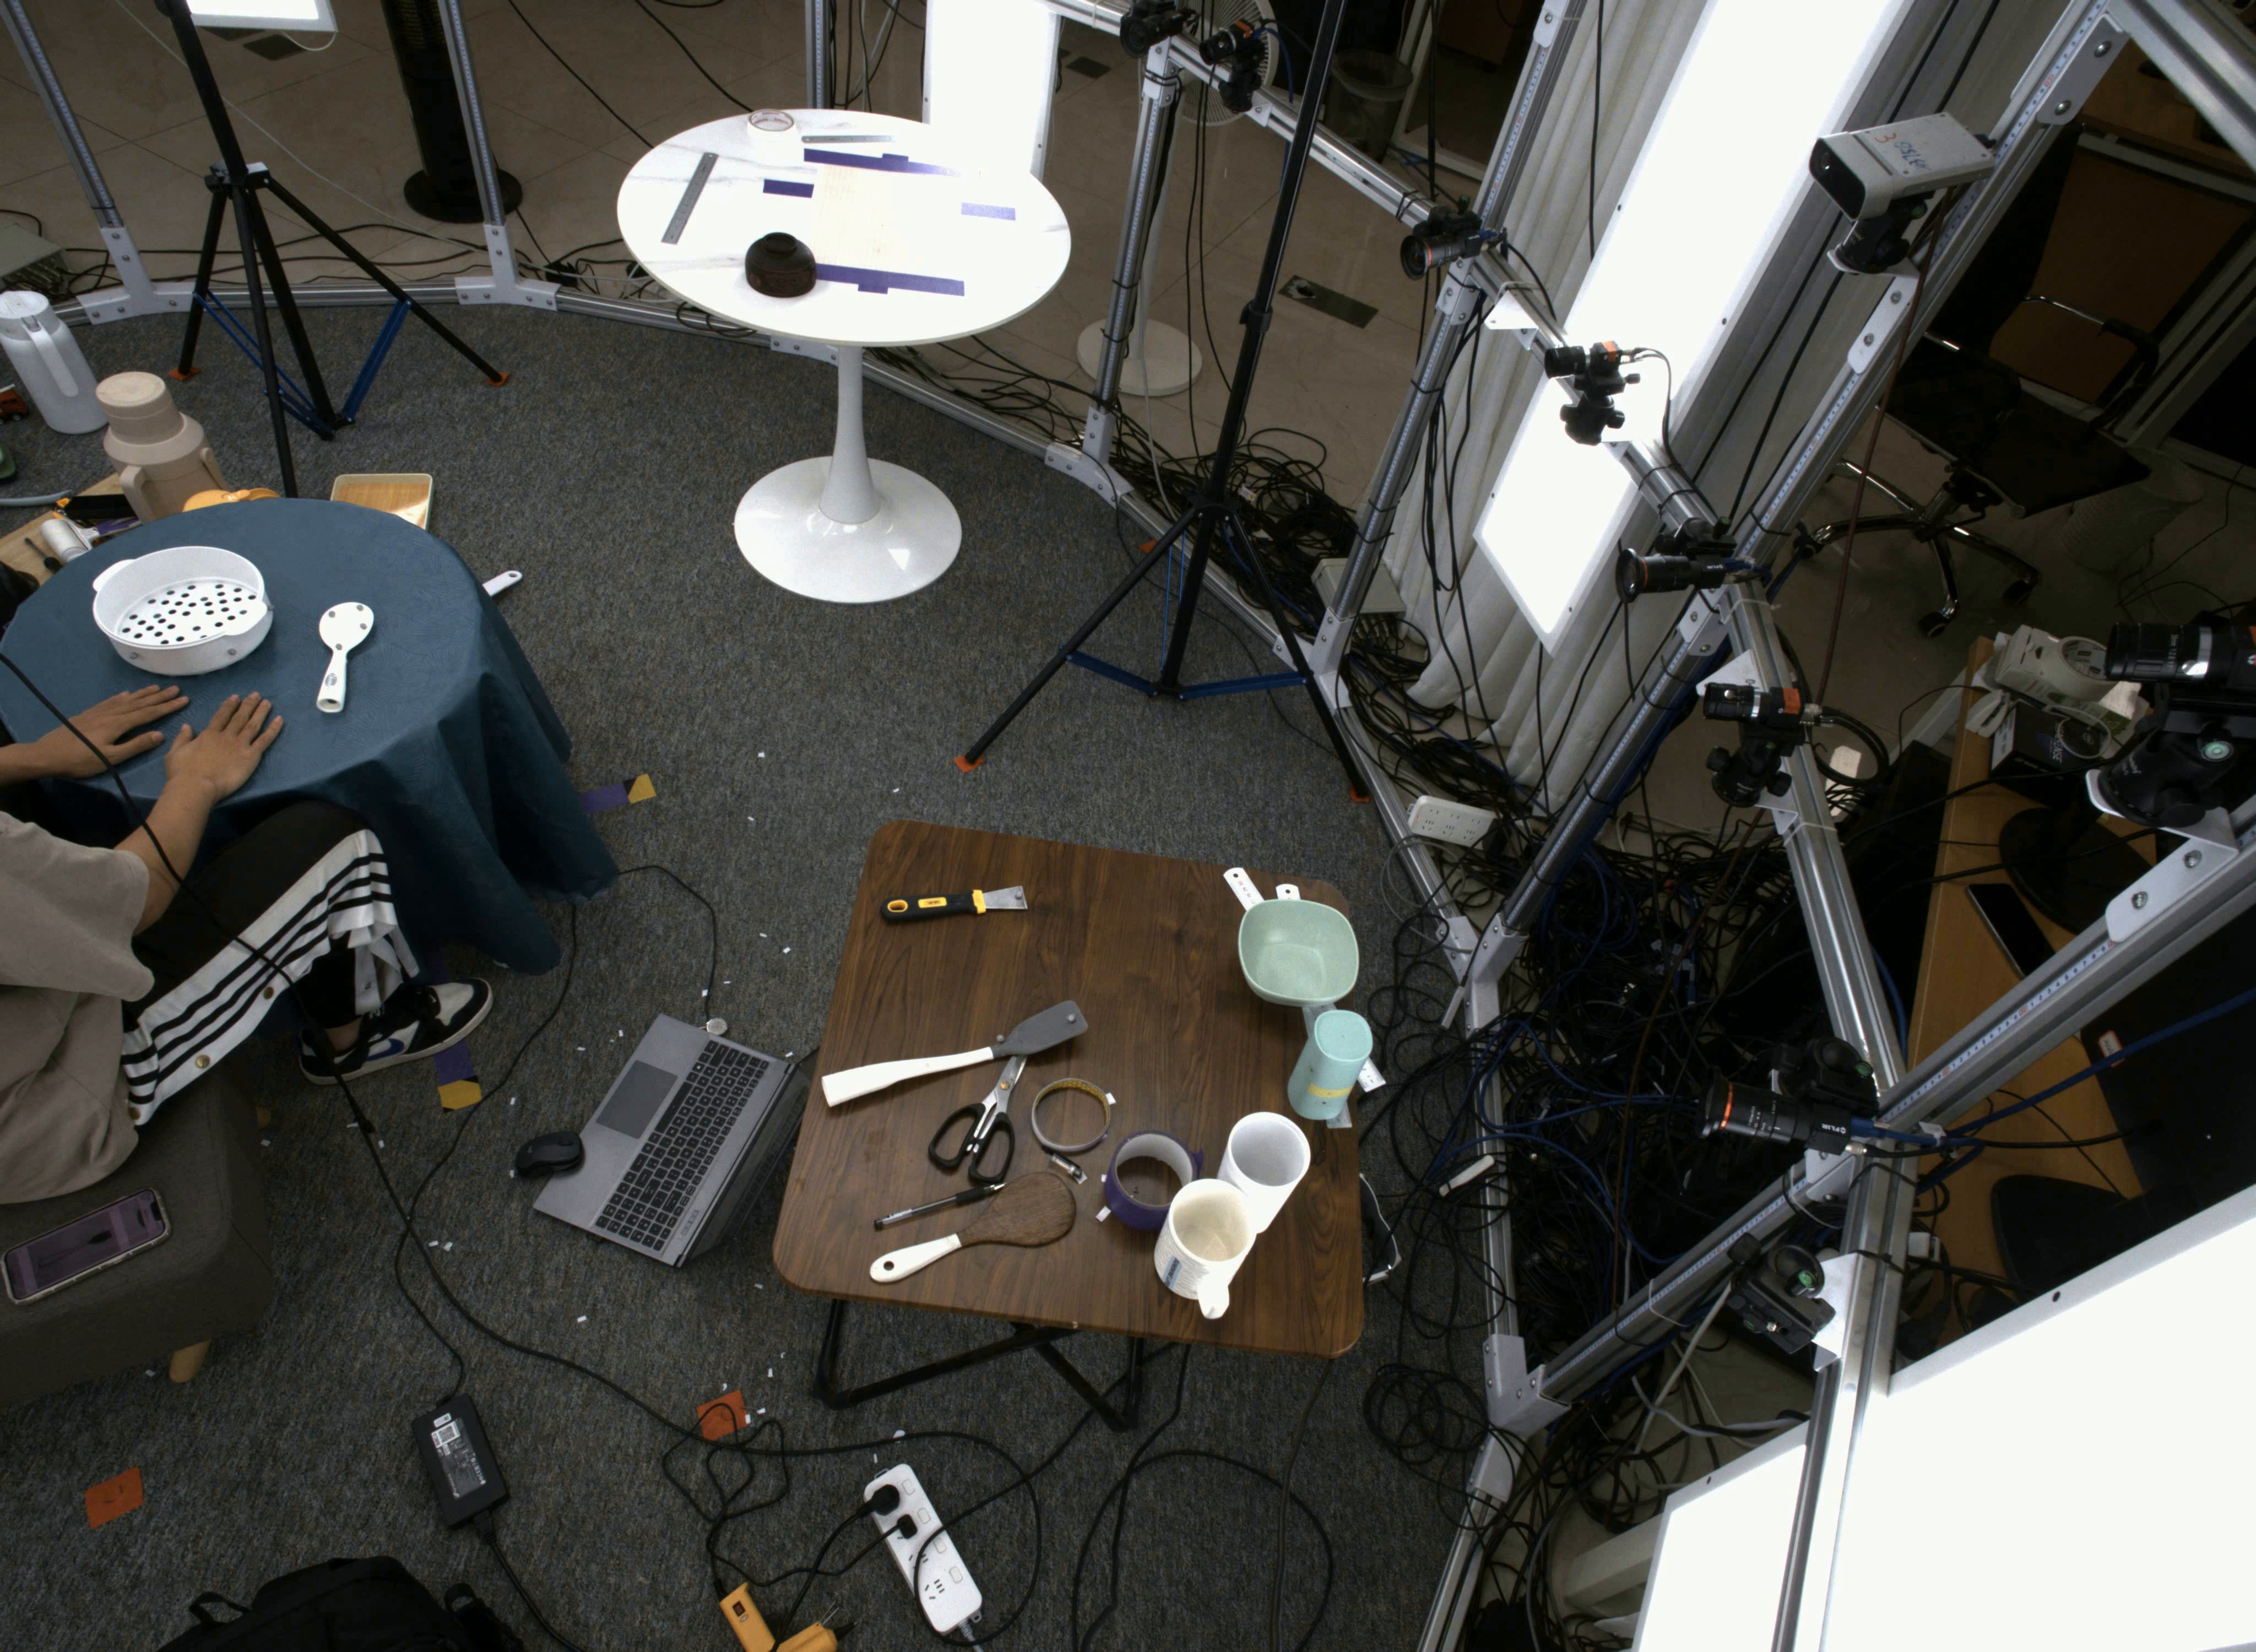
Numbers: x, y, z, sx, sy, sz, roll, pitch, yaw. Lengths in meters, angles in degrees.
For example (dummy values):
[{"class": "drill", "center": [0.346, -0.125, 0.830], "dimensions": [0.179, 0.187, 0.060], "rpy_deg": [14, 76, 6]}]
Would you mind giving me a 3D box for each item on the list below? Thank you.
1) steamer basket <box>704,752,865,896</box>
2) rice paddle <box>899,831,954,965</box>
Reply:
[{"class": "steamer basket", "center": [-0.446, -0.002, 1.689], "dimensions": [0.226, 0.071, 0.201], "rpy_deg": [29, 52, 11]}, {"class": "rice paddle", "center": [-0.268, 0.084, 1.689], "dimensions": [0.068, 0.030, 0.201], "rpy_deg": [9, 52, -8]}]
